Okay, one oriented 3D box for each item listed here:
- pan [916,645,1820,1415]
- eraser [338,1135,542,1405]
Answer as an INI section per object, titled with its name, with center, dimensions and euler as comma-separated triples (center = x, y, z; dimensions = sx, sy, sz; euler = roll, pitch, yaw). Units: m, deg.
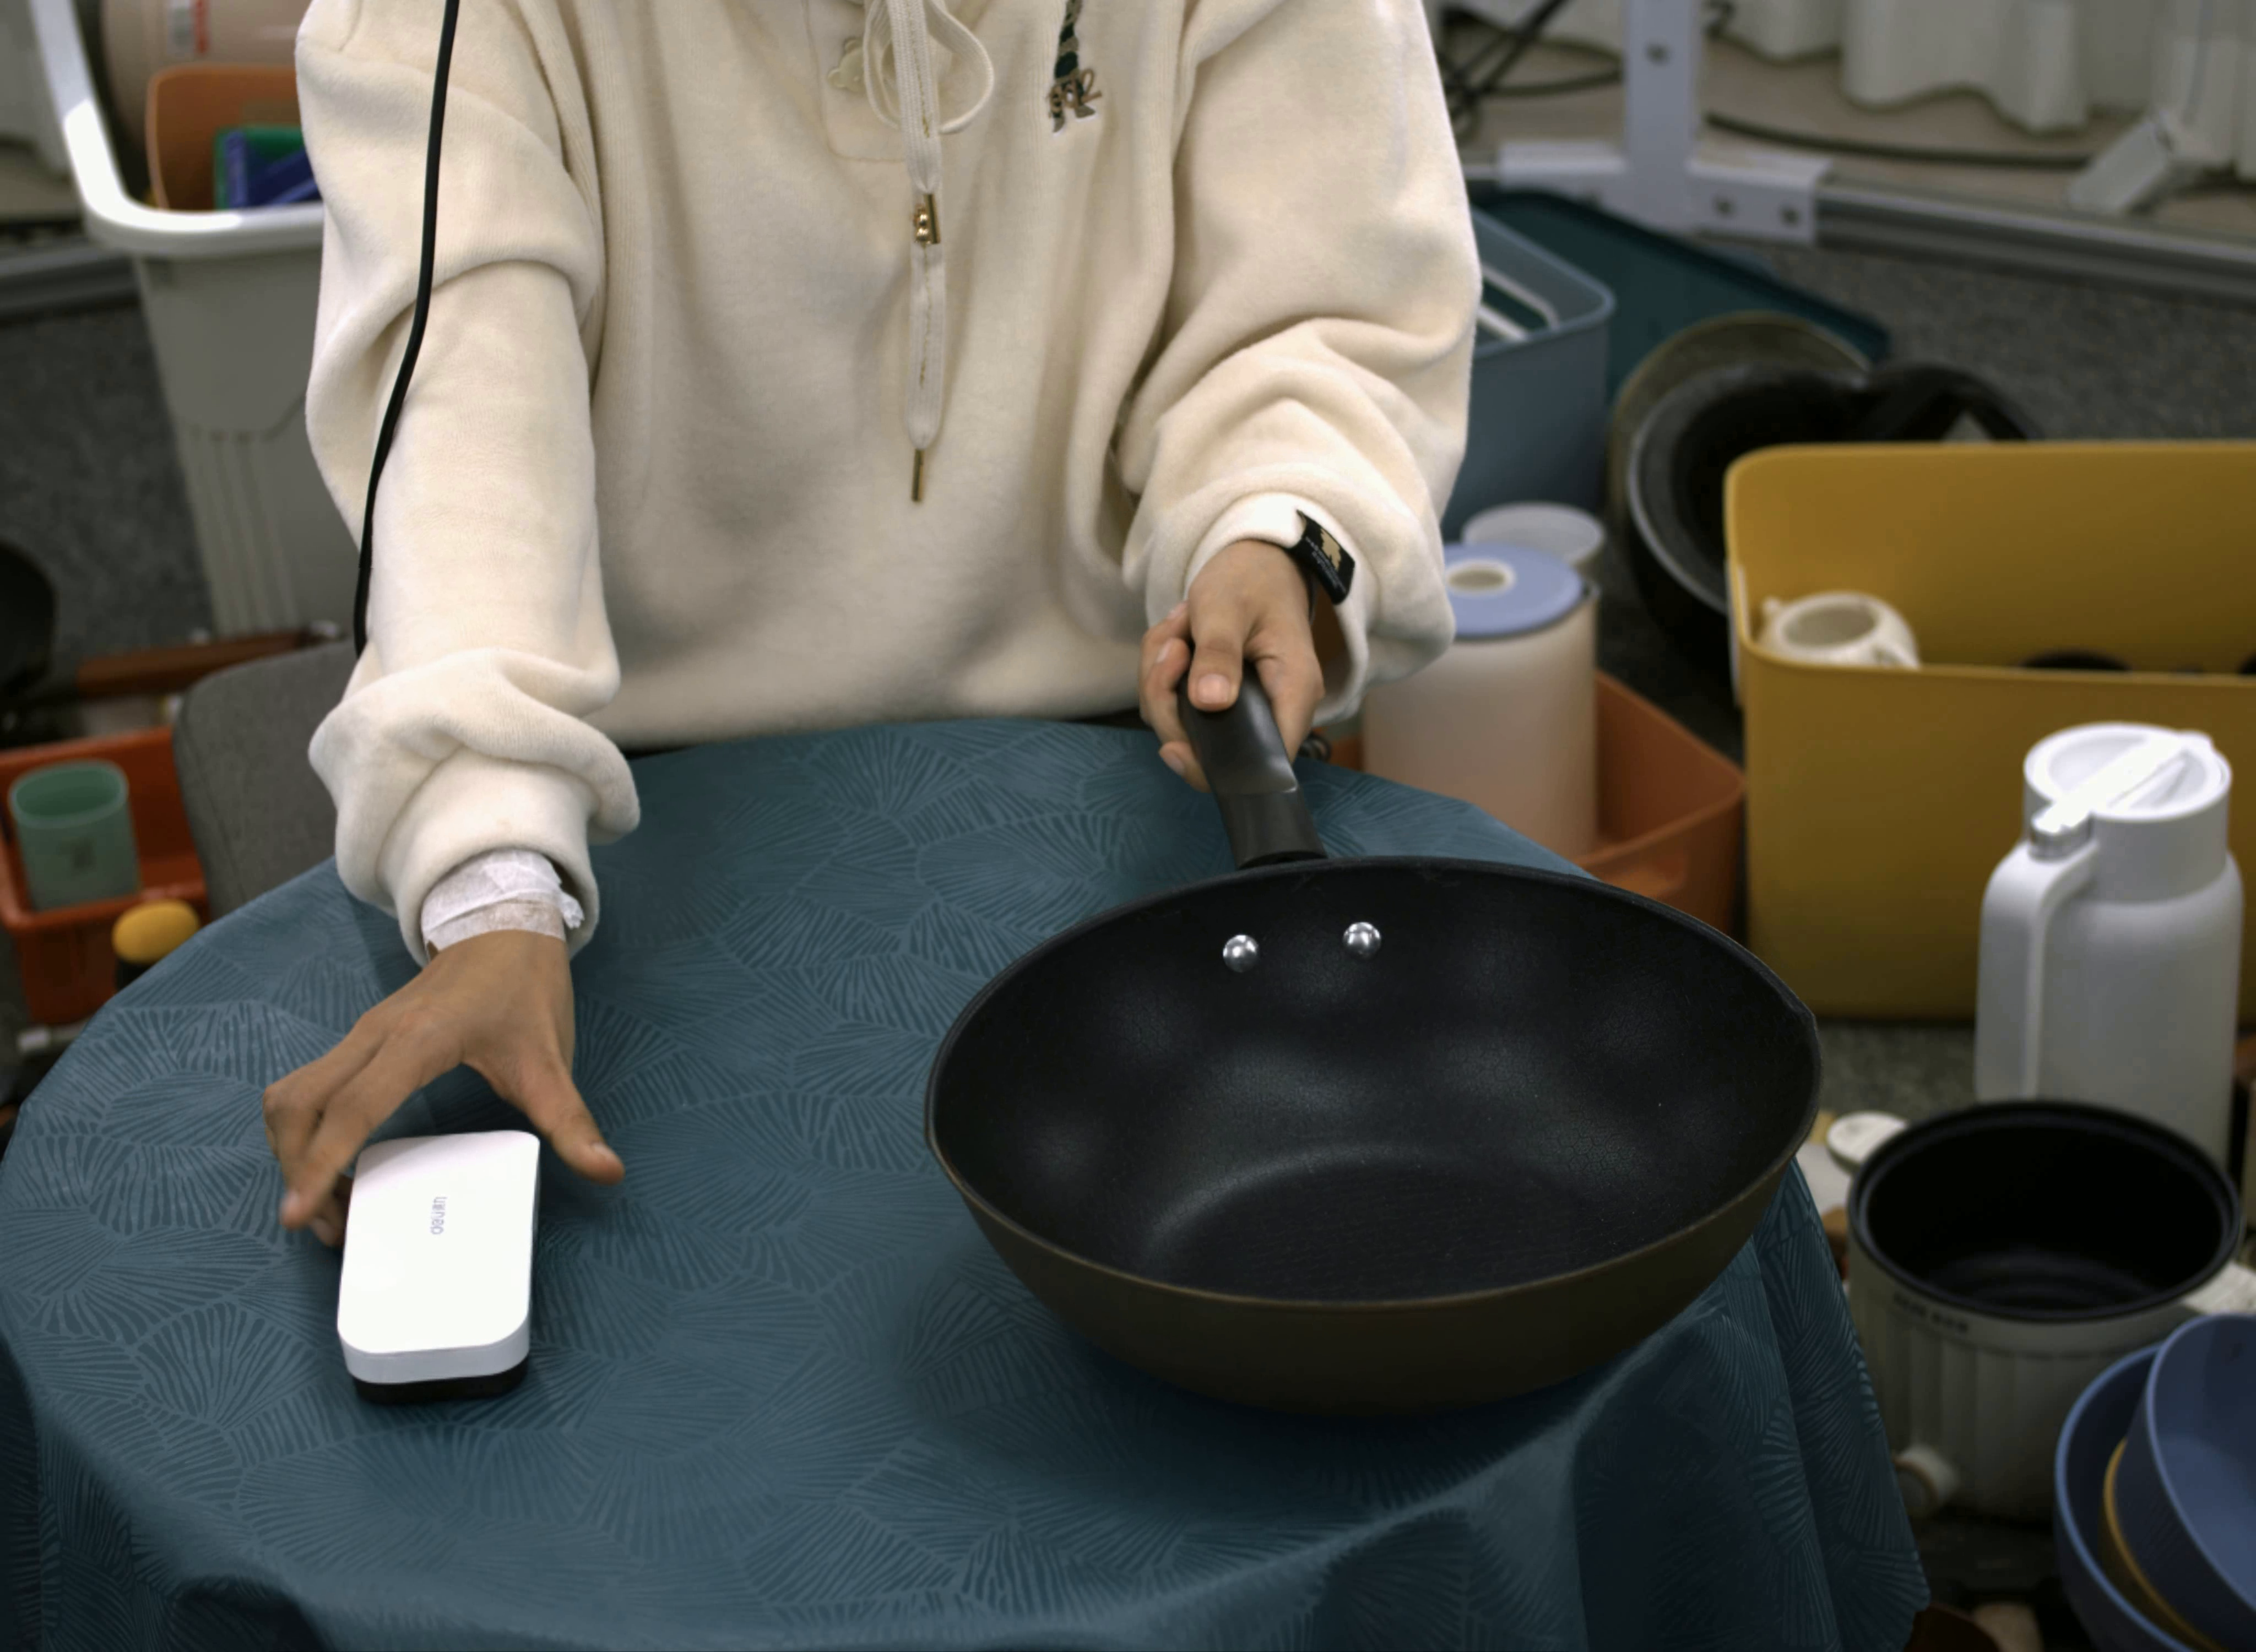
[pan]
center = 0.064, 0.069, 1.867
dimensions = 0.287, 0.086, 0.469
euler = -6, 27, -7
[eraser]
center = -0.221, 0.140, 1.815
dimensions = 0.063, 0.034, 0.133
euler = -2, 28, -3
